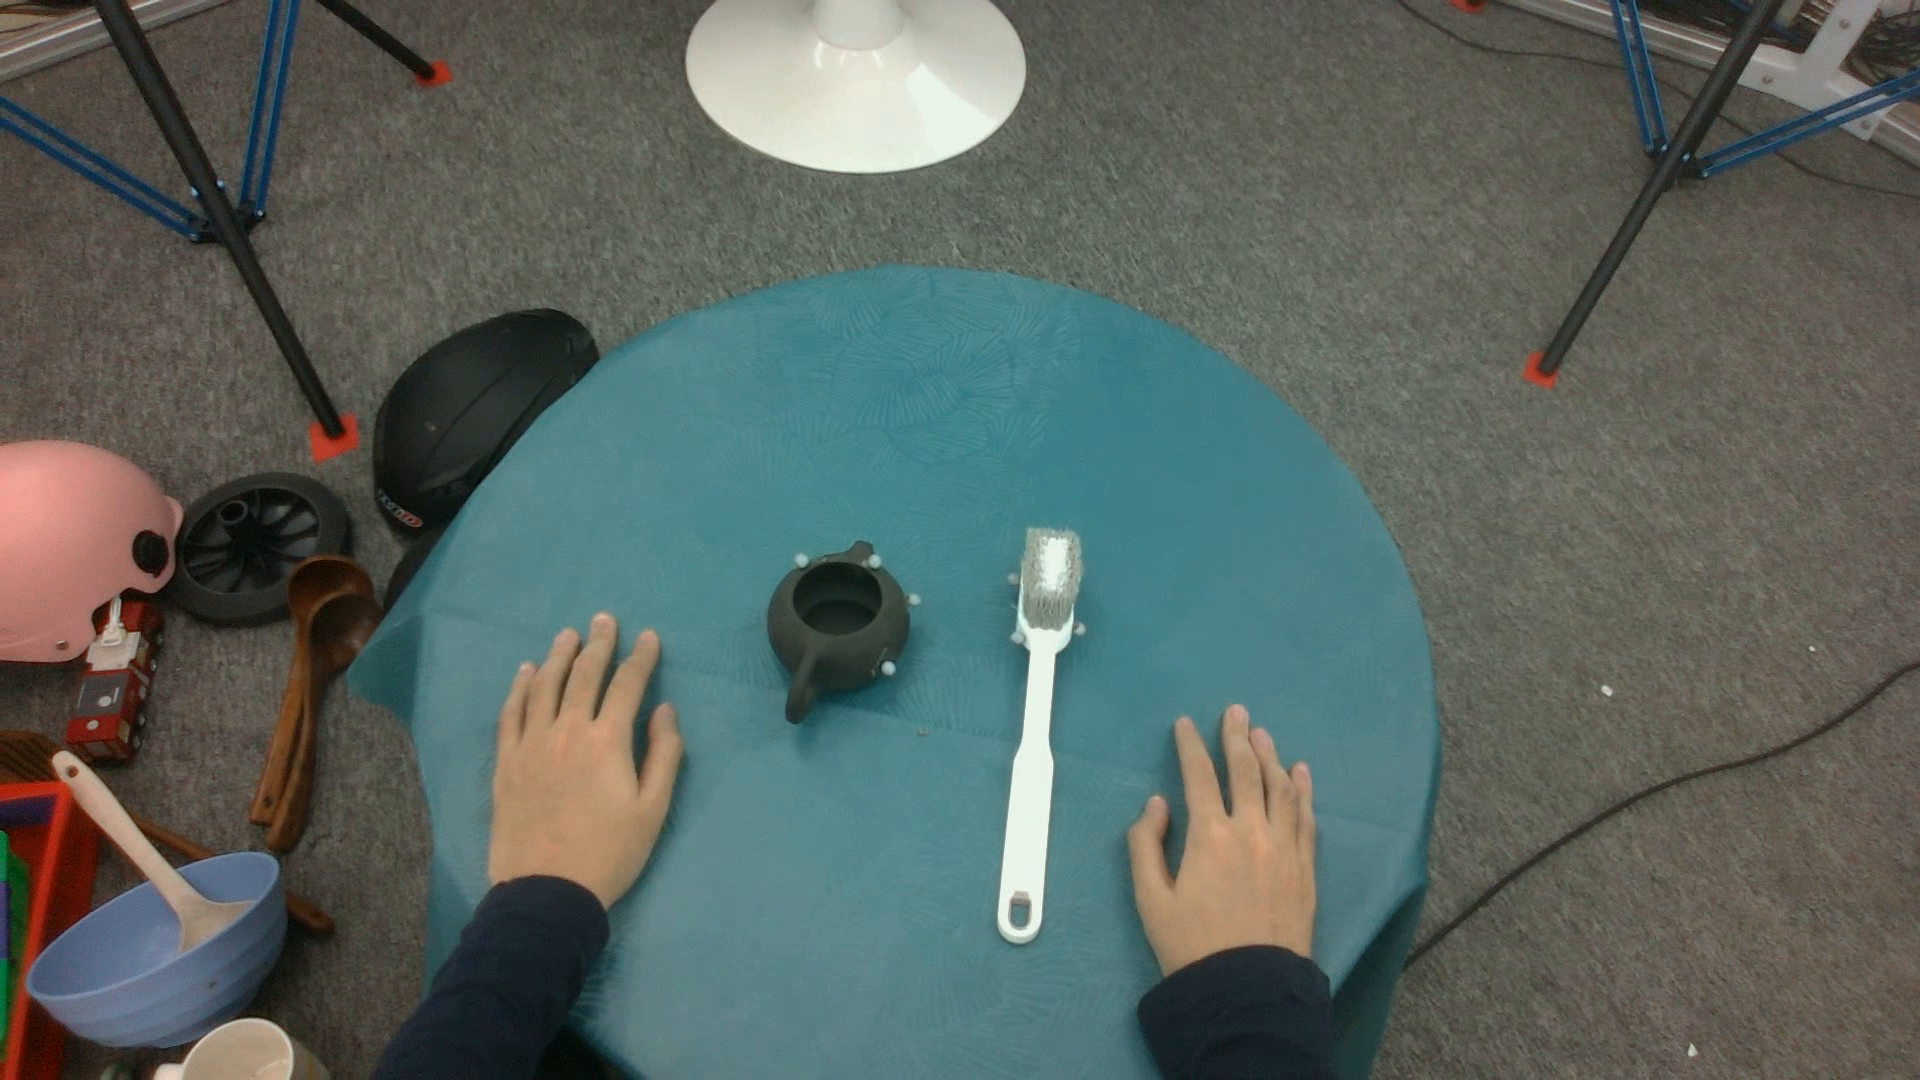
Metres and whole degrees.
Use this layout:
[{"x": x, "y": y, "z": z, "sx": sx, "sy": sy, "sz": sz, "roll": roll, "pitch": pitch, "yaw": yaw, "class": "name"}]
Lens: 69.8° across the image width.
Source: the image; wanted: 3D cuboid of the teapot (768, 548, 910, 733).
[{"x": -0.075, "y": 0.060, "z": 0.799, "sx": 0.083, "sy": 0.053, "sz": 0.114, "roll": 18, "pitch": 55, "yaw": 8, "class": "teapot"}]

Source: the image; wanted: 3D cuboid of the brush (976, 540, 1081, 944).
[{"x": 0.039, "y": 0.103, "z": 0.778, "sx": 0.034, "sy": 0.050, "sz": 0.245, "roll": 11, "pitch": 55, "yaw": 0, "class": "brush"}]
